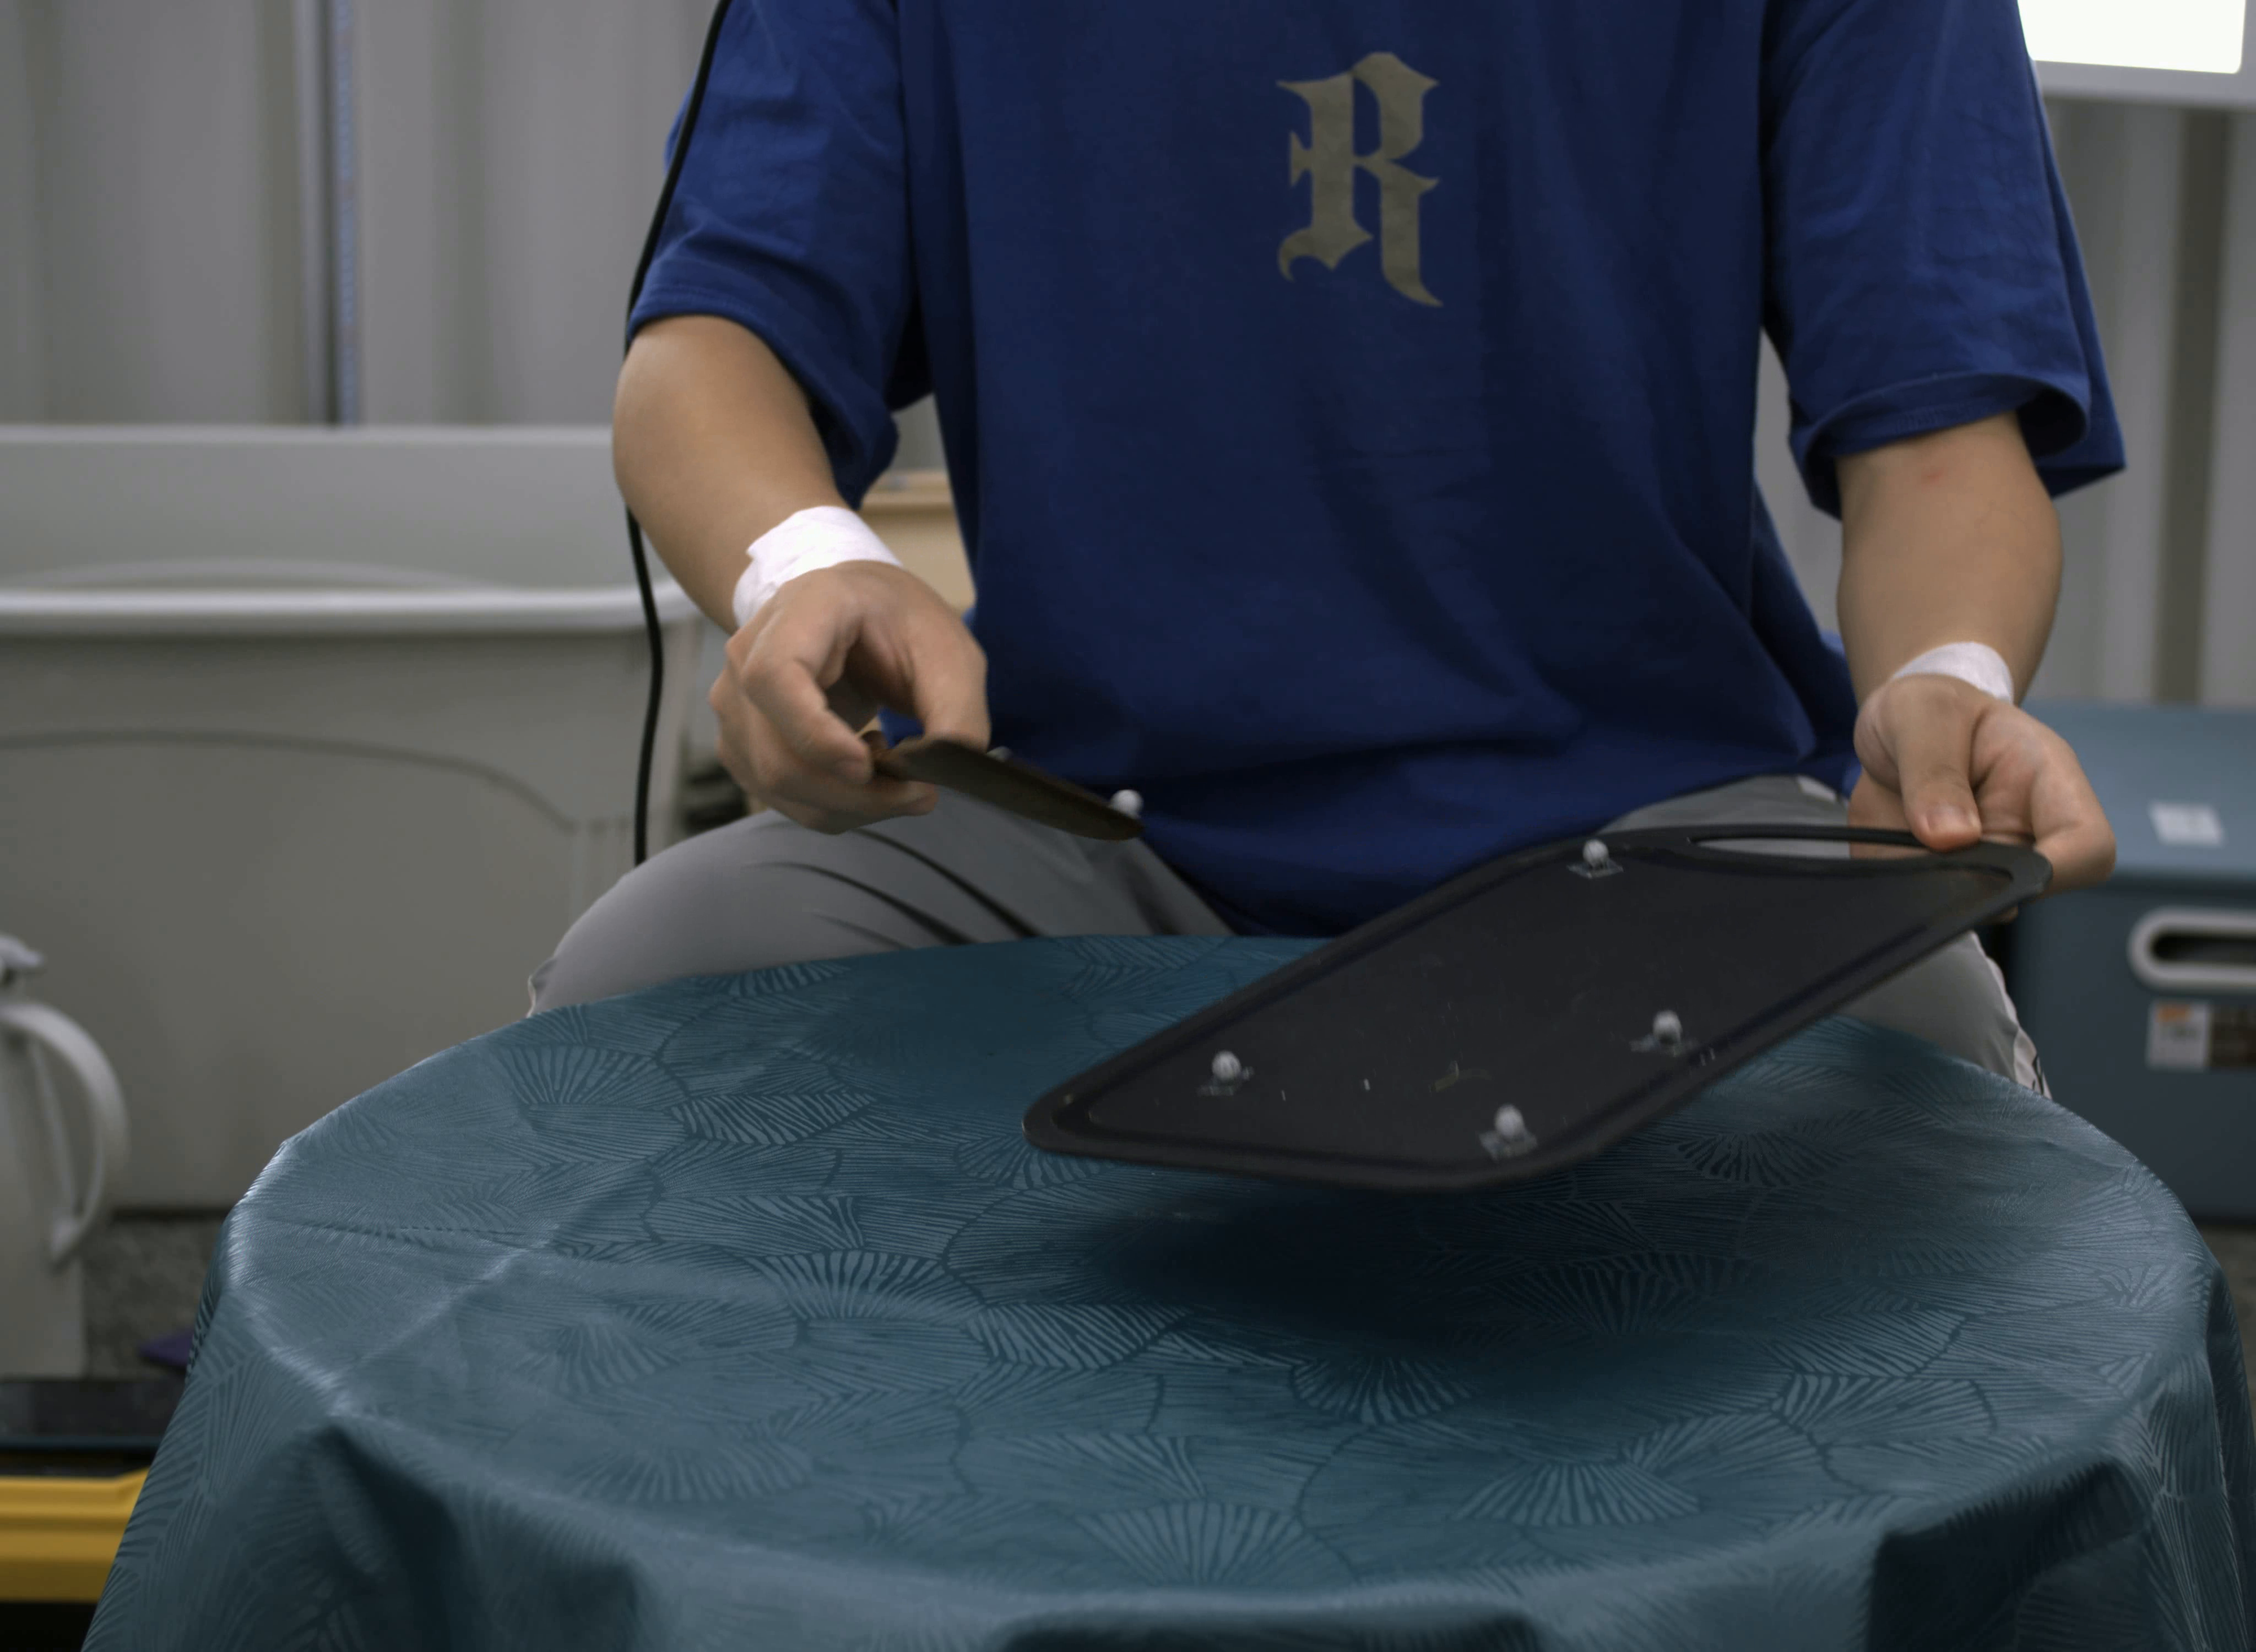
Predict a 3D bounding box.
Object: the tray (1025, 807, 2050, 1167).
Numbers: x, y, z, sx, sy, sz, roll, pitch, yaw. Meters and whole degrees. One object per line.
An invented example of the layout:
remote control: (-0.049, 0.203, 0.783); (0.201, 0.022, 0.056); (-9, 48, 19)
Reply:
tray: (0.131, 0.041, 1.596); (0.208, 0.010, 0.326); (2, 19, 42)

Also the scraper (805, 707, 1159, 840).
scraper: (-0.058, -0.019, 1.656); (0.076, 0.011, 0.209); (29, -8, -22)
